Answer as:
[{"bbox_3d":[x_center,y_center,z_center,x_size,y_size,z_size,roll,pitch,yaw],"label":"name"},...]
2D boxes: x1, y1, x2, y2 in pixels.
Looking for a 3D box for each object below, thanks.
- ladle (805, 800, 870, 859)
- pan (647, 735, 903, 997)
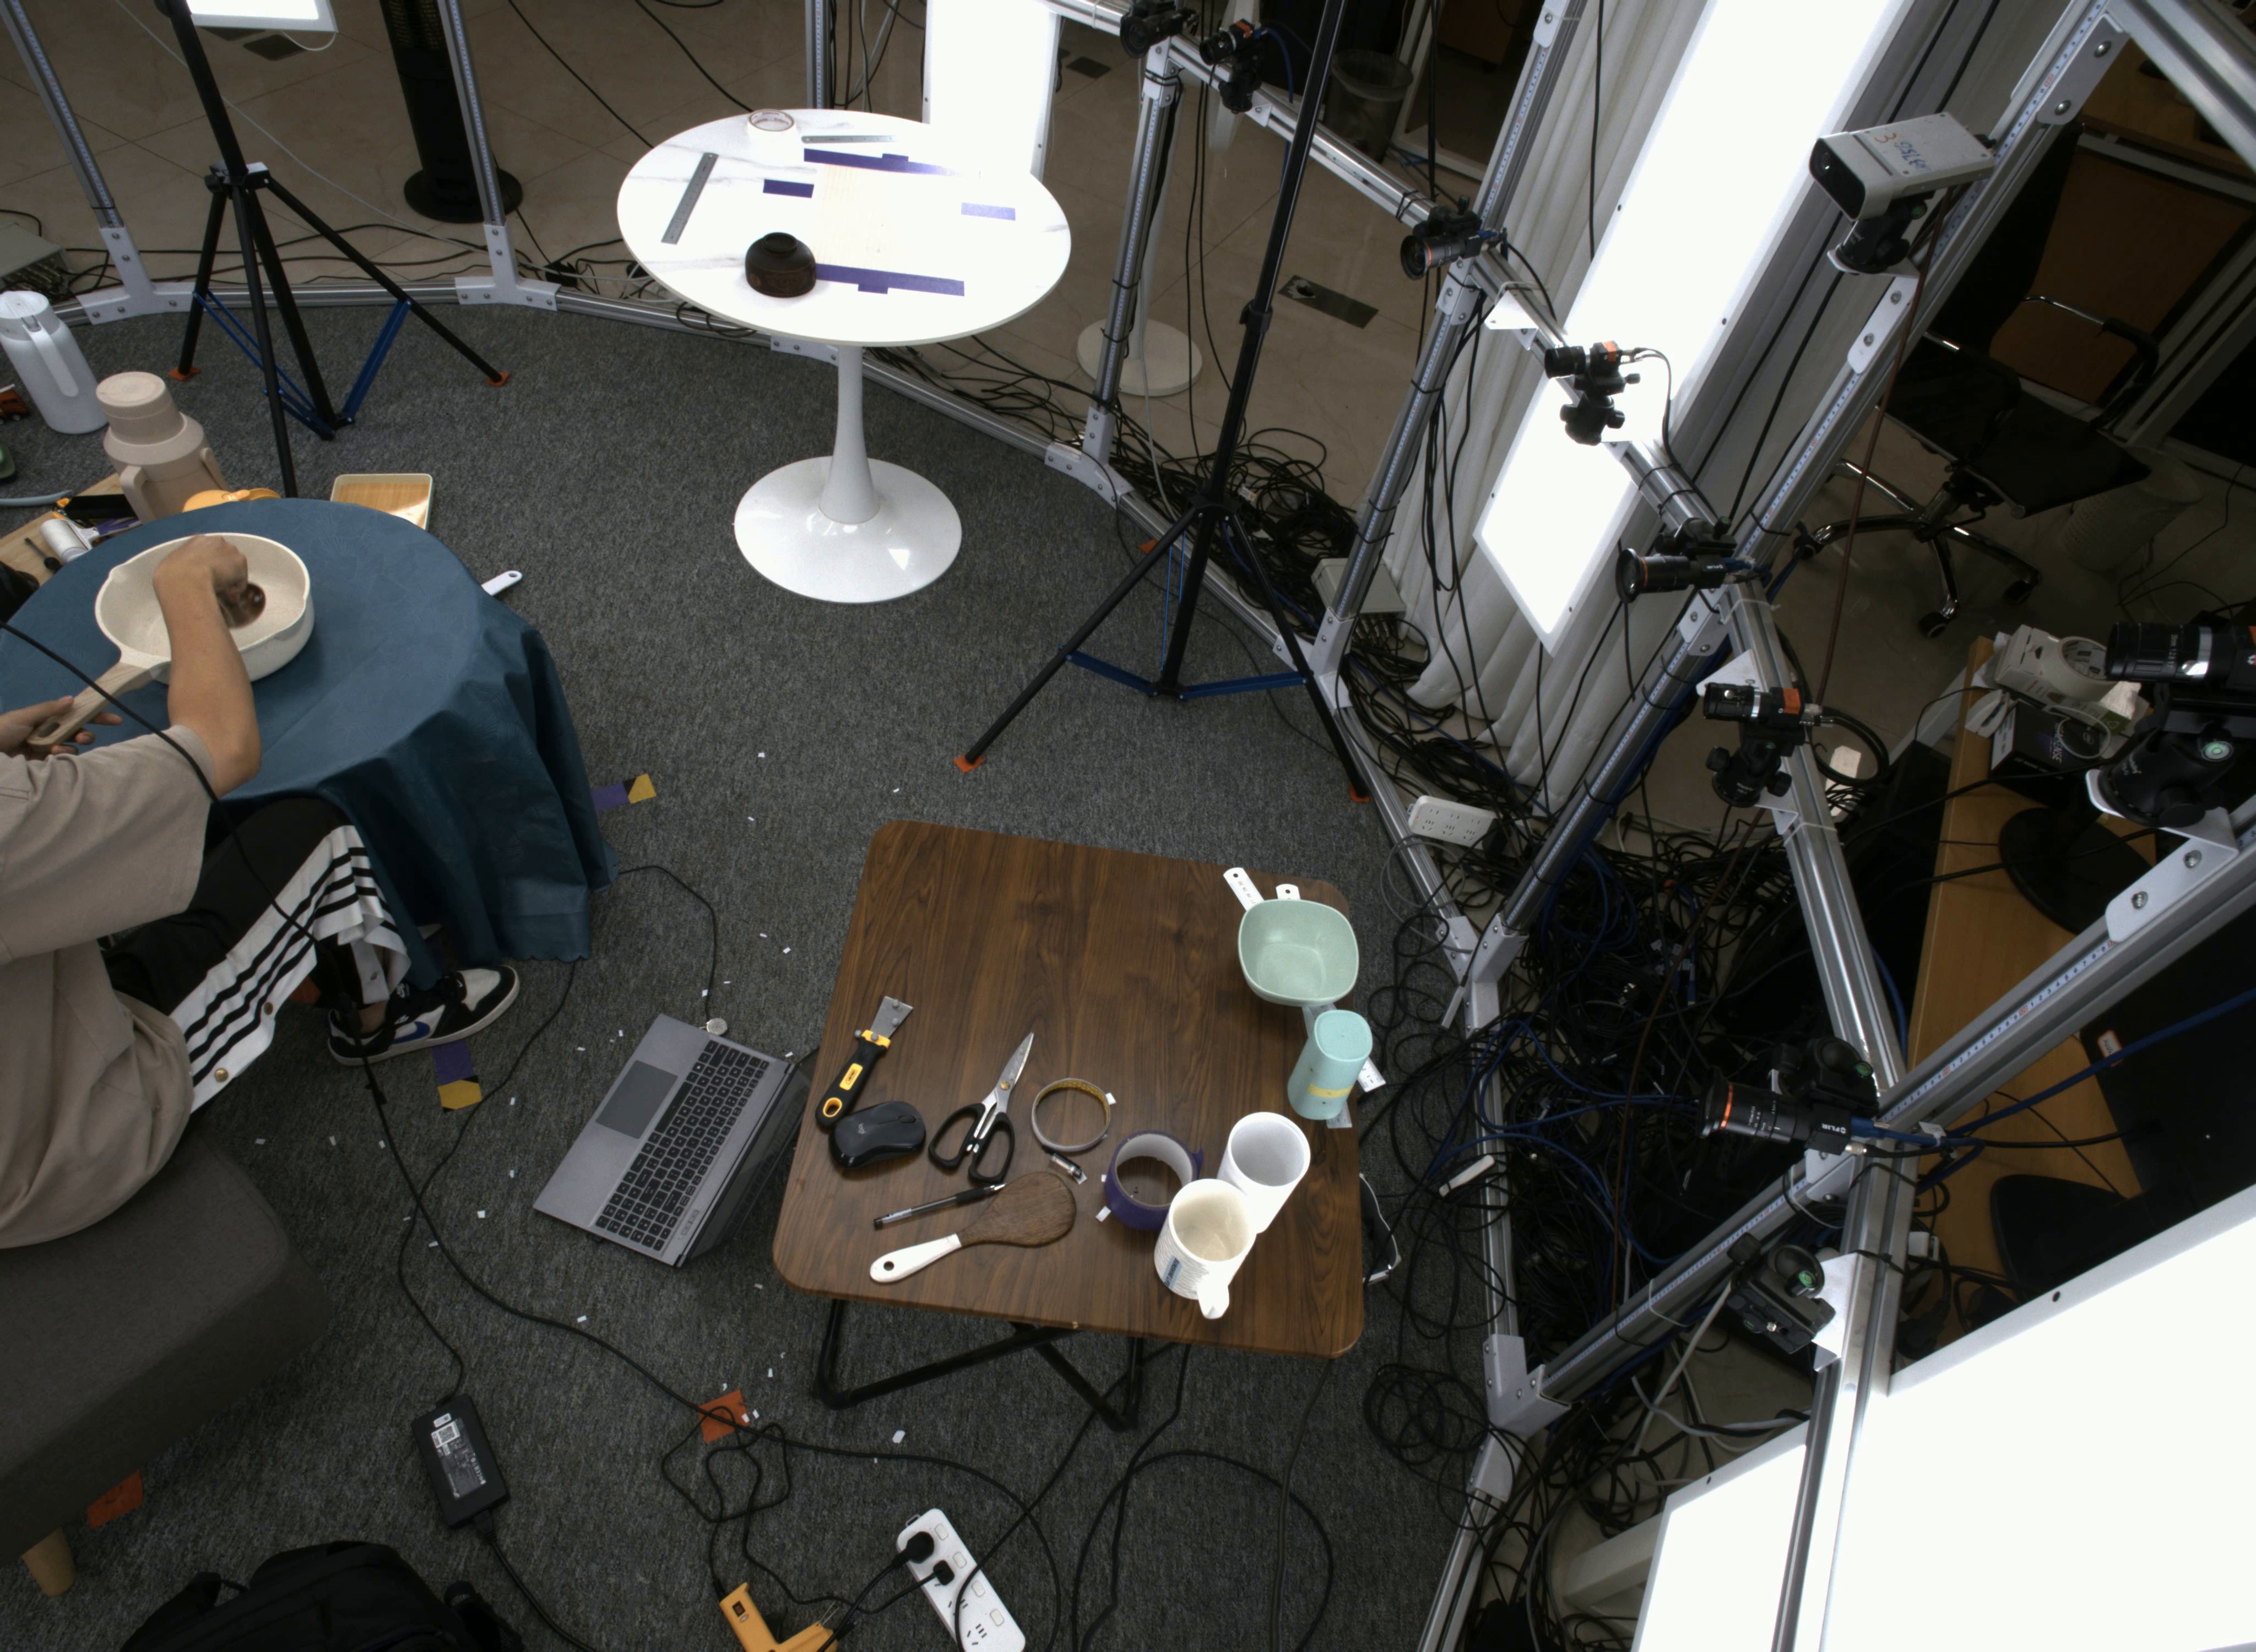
[{"bbox_3d":[-0.340,-0.006,1.526,0.082,0.271,0.077,-27,91,-14],"label":"ladle"},{"bbox_3d":[-0.455,0.062,1.617,0.260,0.104,0.432,27,53,6],"label":"pan"}]
